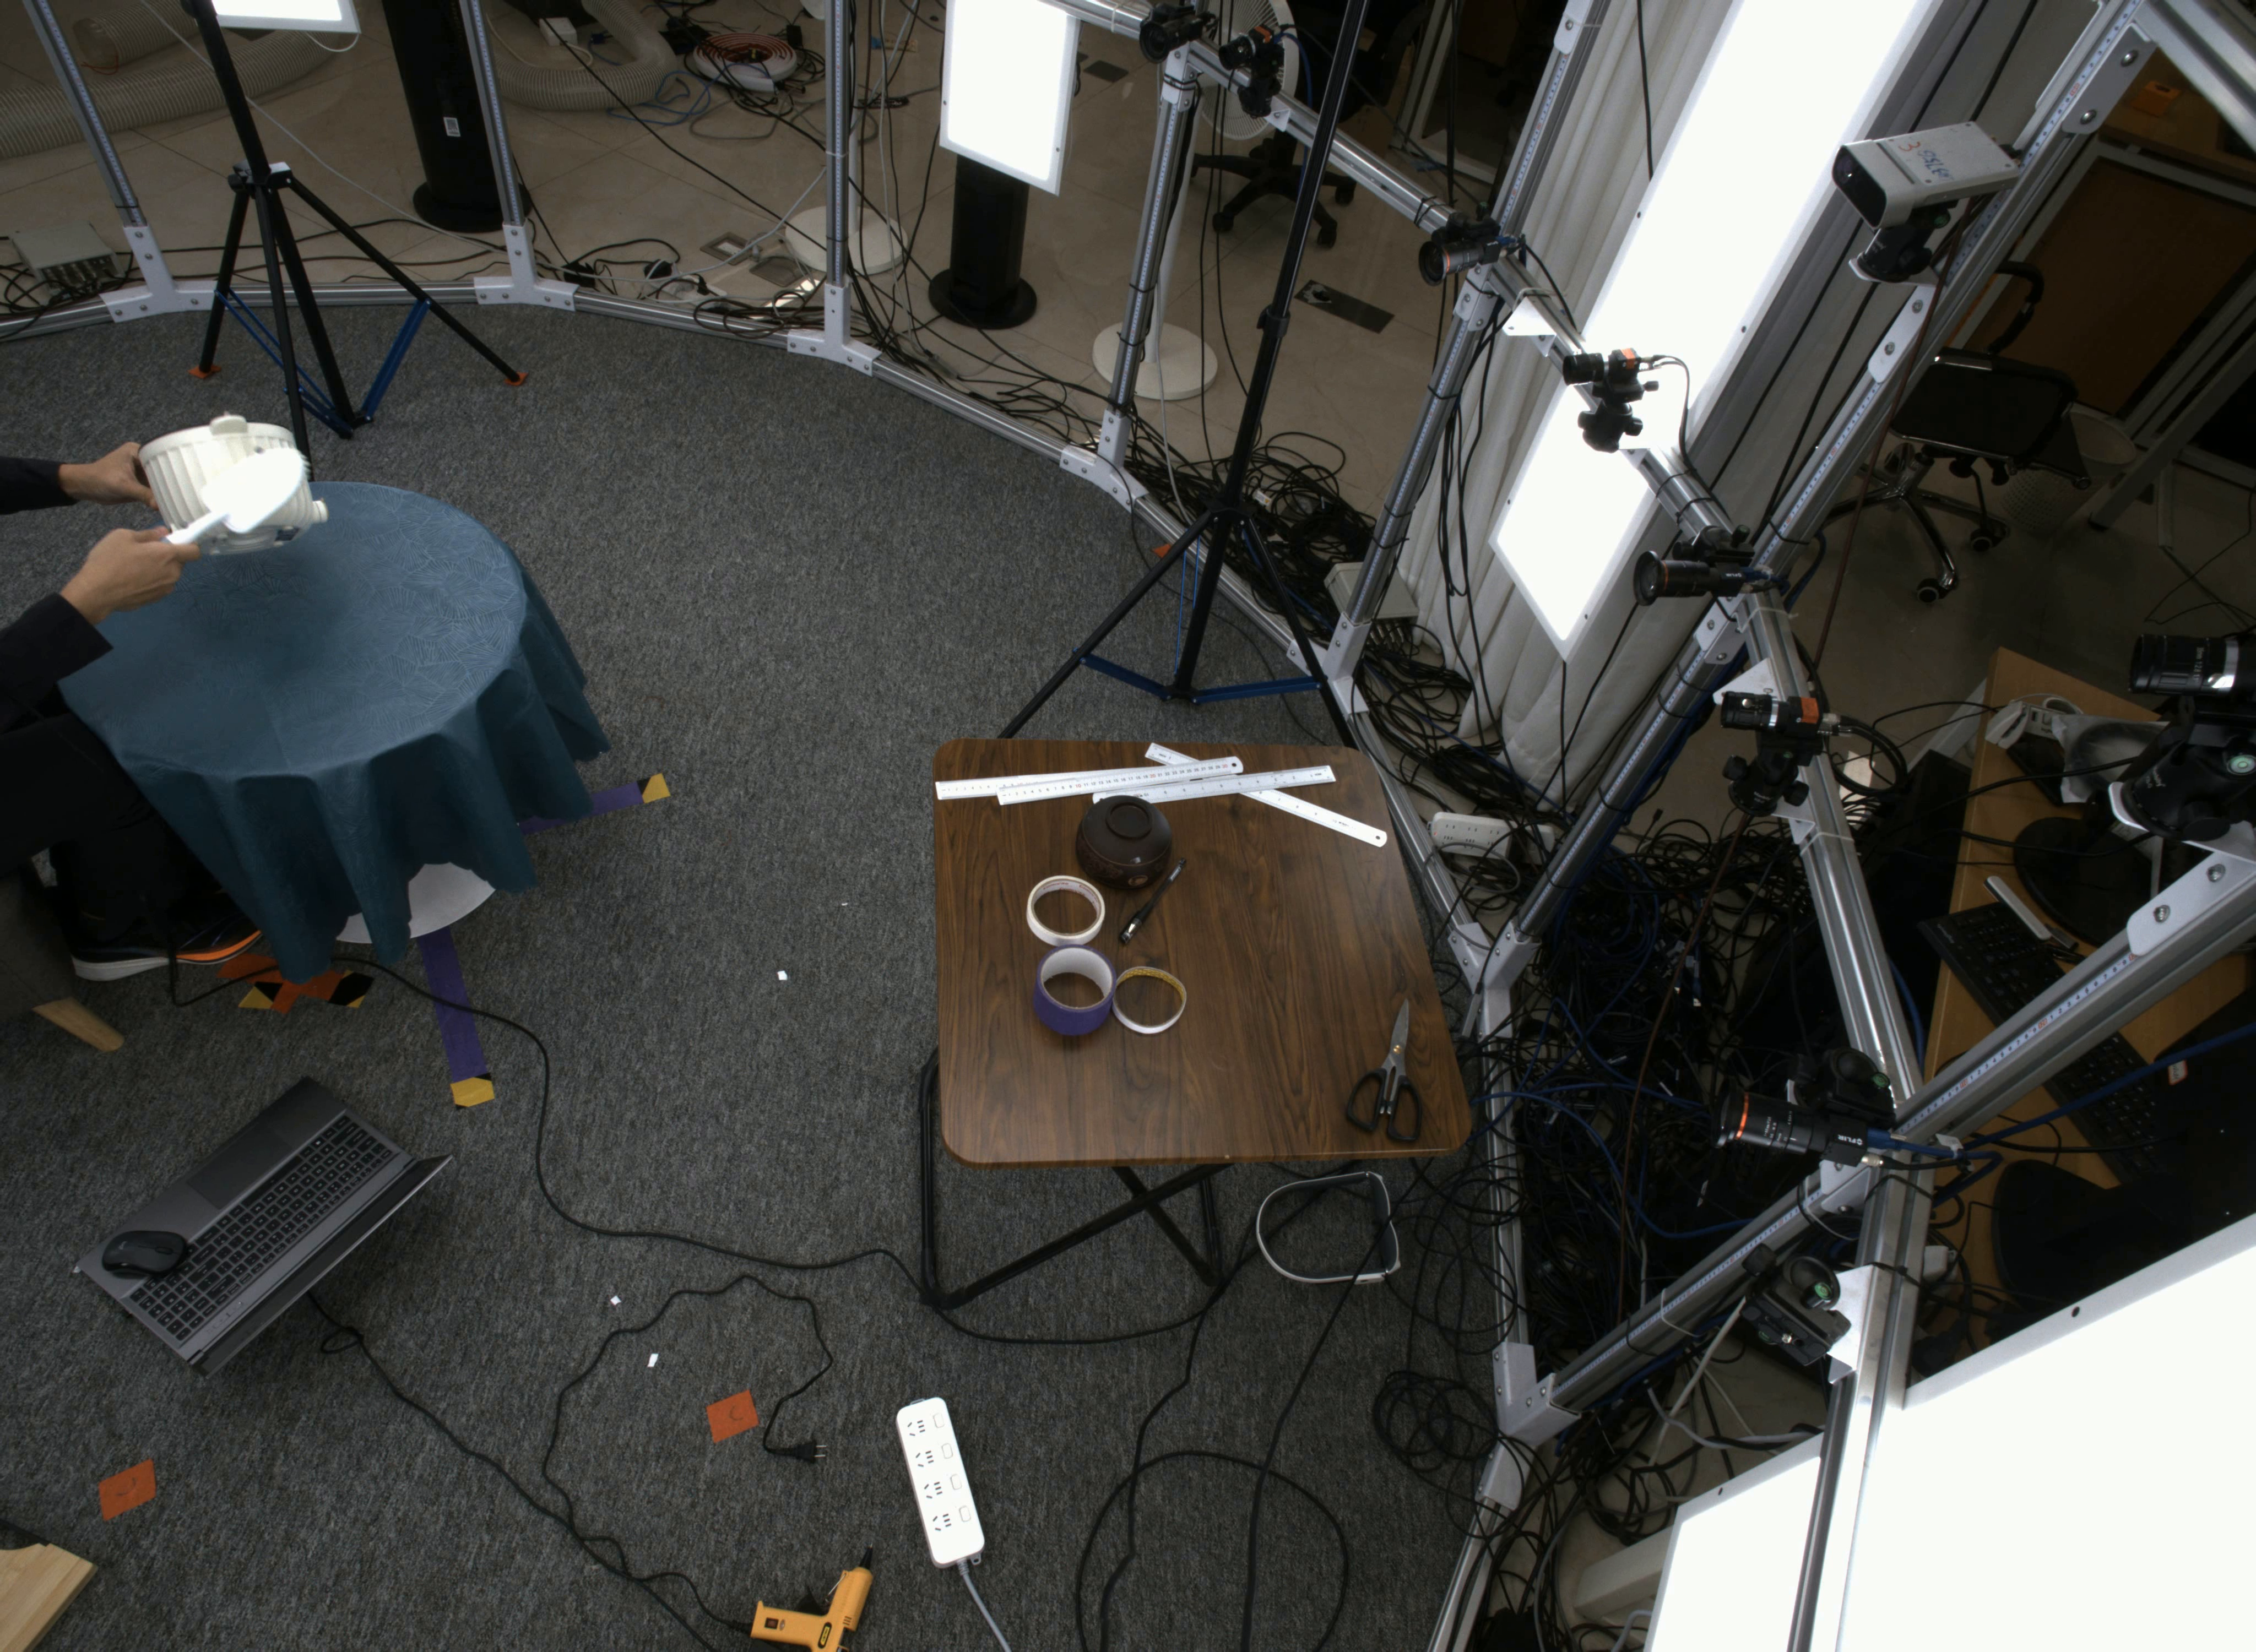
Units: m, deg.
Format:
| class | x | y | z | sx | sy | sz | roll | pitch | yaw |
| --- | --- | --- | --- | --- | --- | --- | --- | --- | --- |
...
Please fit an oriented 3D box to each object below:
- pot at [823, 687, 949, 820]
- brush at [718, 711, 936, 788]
| class | x | y | z | sx | sy | sz | roll | pitch | yaw |
| --- | --- | --- | --- | --- | --- | --- | --- | --- | --- |
| pot | -0.382 | -0.101 | 2.081 | 0.192 | 0.241 | 0.141 | 12 | 60 | -17 |
| brush | -0.443 | -0.106 | 1.919 | 0.324 | 0.087 | 0.080 | -17 | 39 | -11 |
